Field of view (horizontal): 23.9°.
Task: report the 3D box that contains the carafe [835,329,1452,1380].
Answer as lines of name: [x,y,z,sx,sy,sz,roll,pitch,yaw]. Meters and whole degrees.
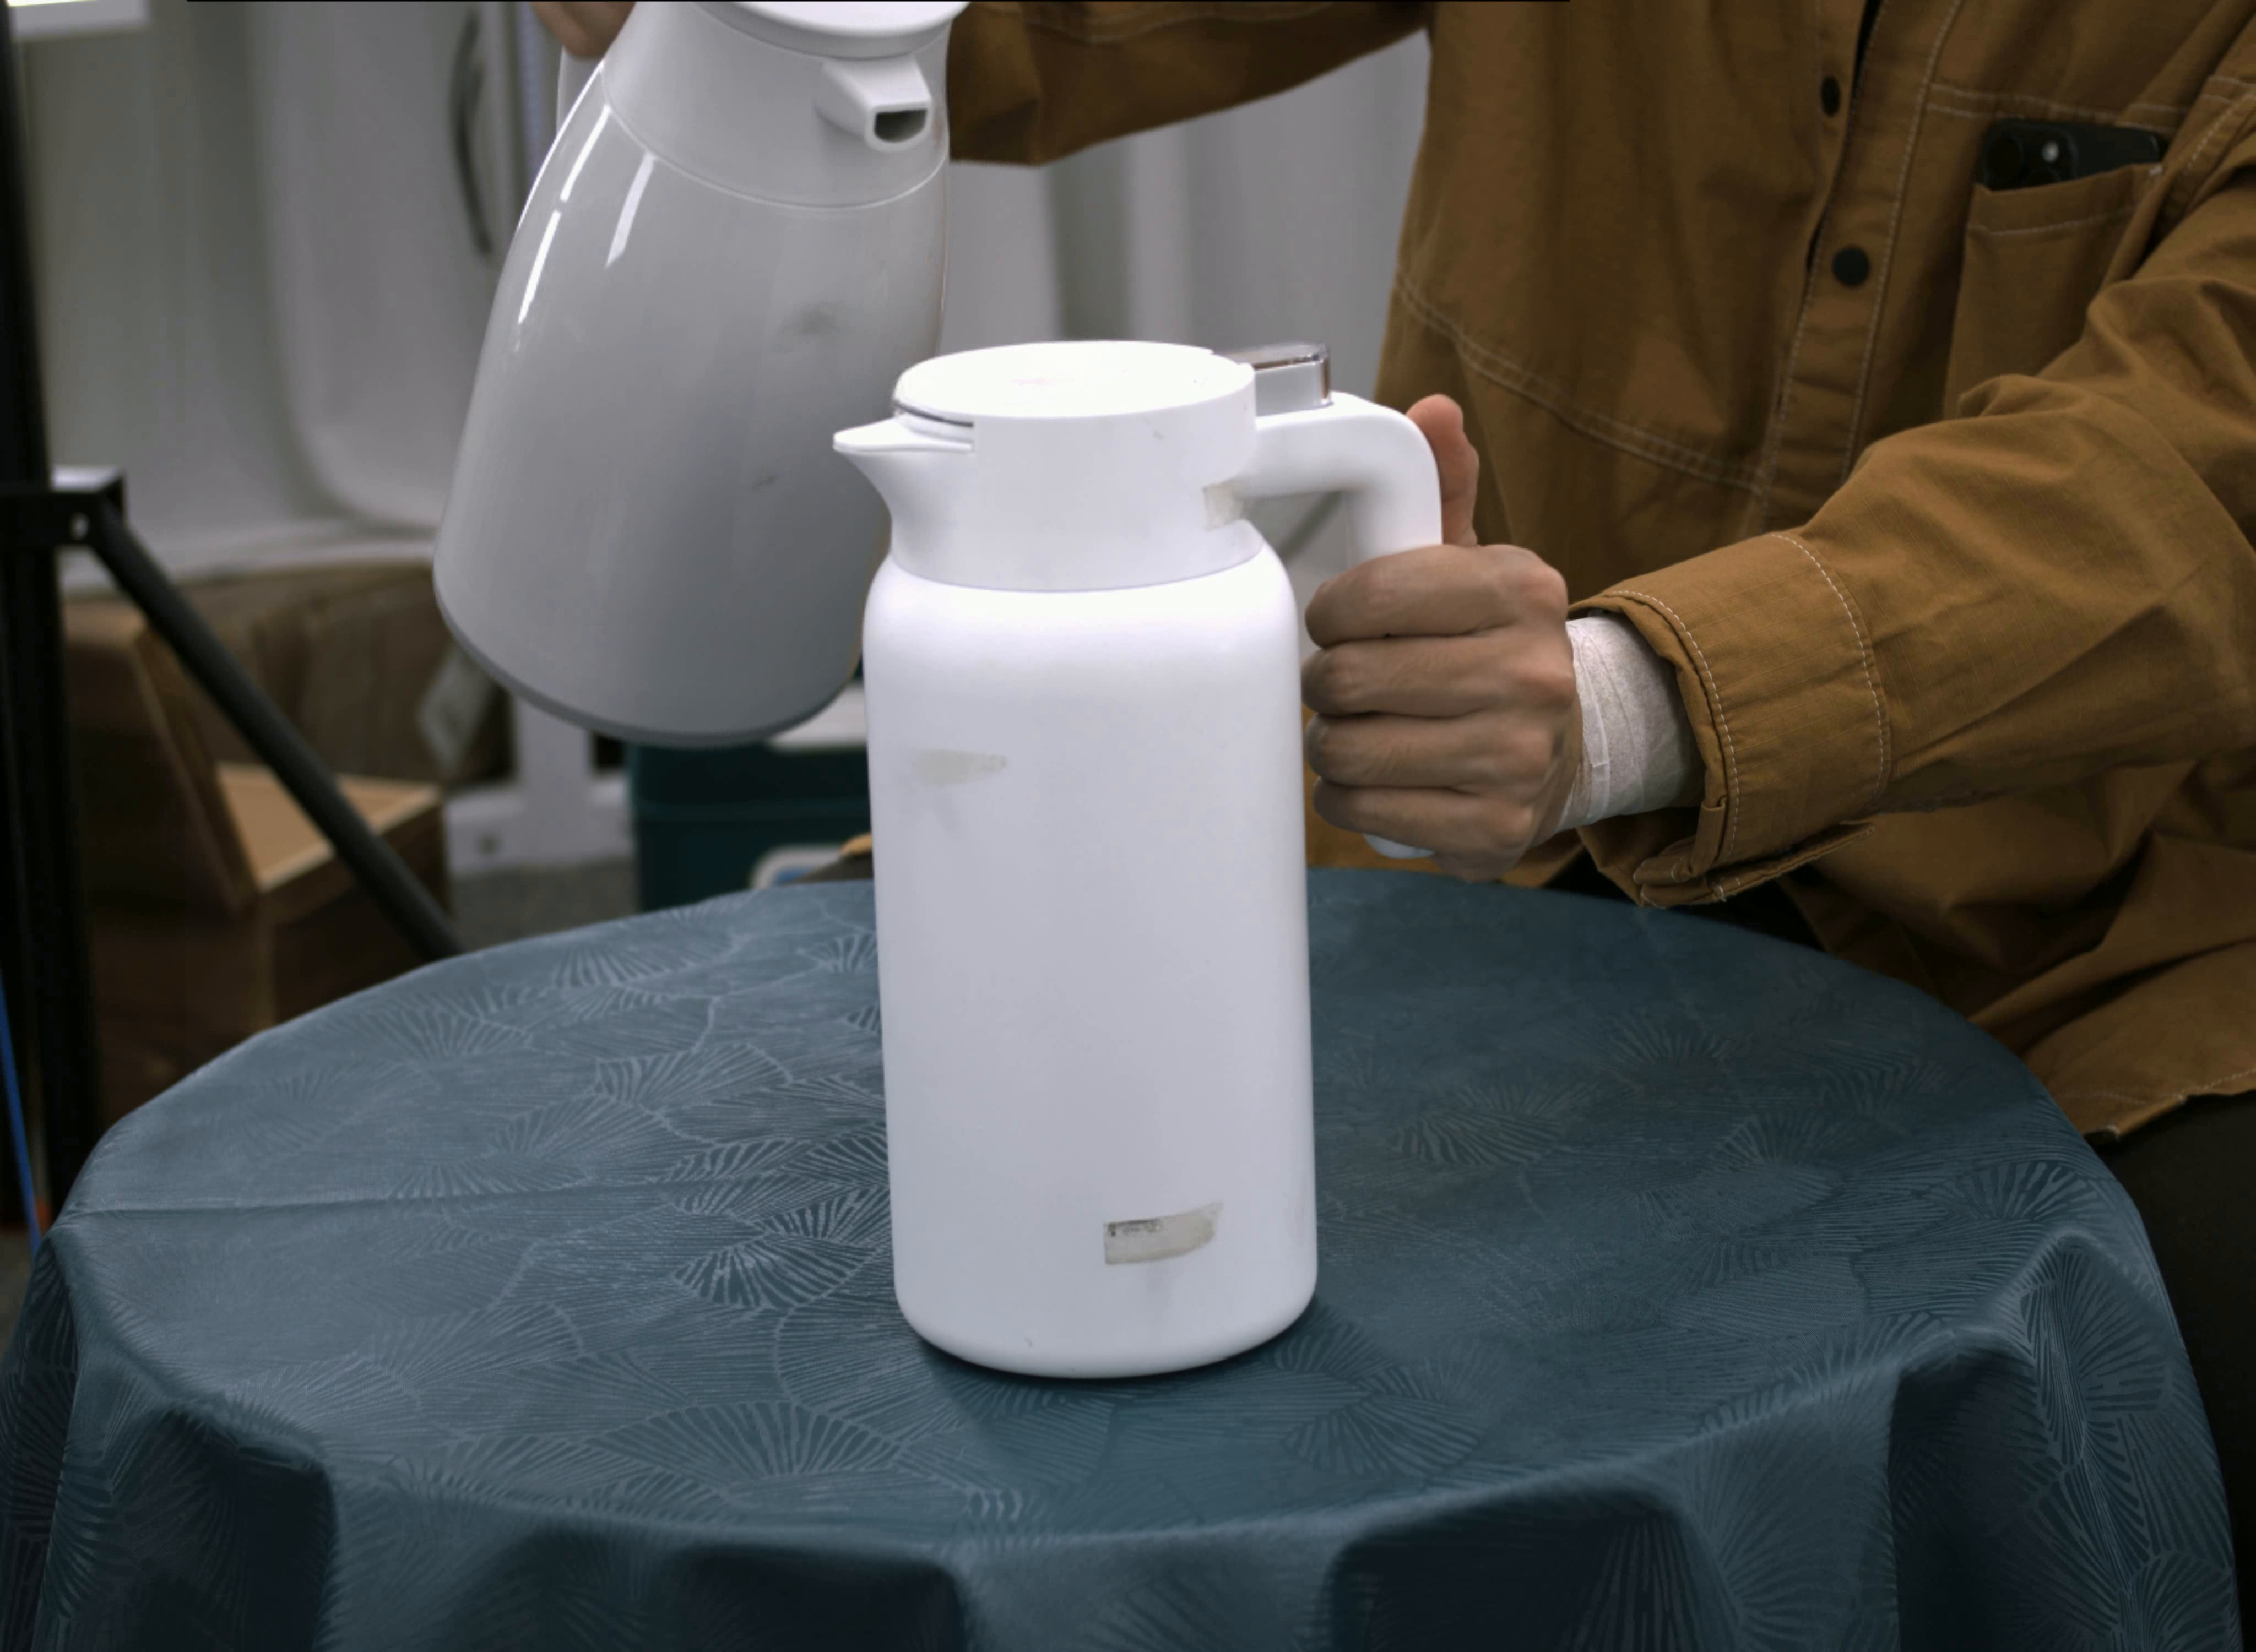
carafe: [0.006,0.004,1.434,0.169,0.269,0.126,-9,14,-24]

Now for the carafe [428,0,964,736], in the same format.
carafe: [-0.122,-0.174,1.541,0.129,0.249,0.171,-8,45,-31]
